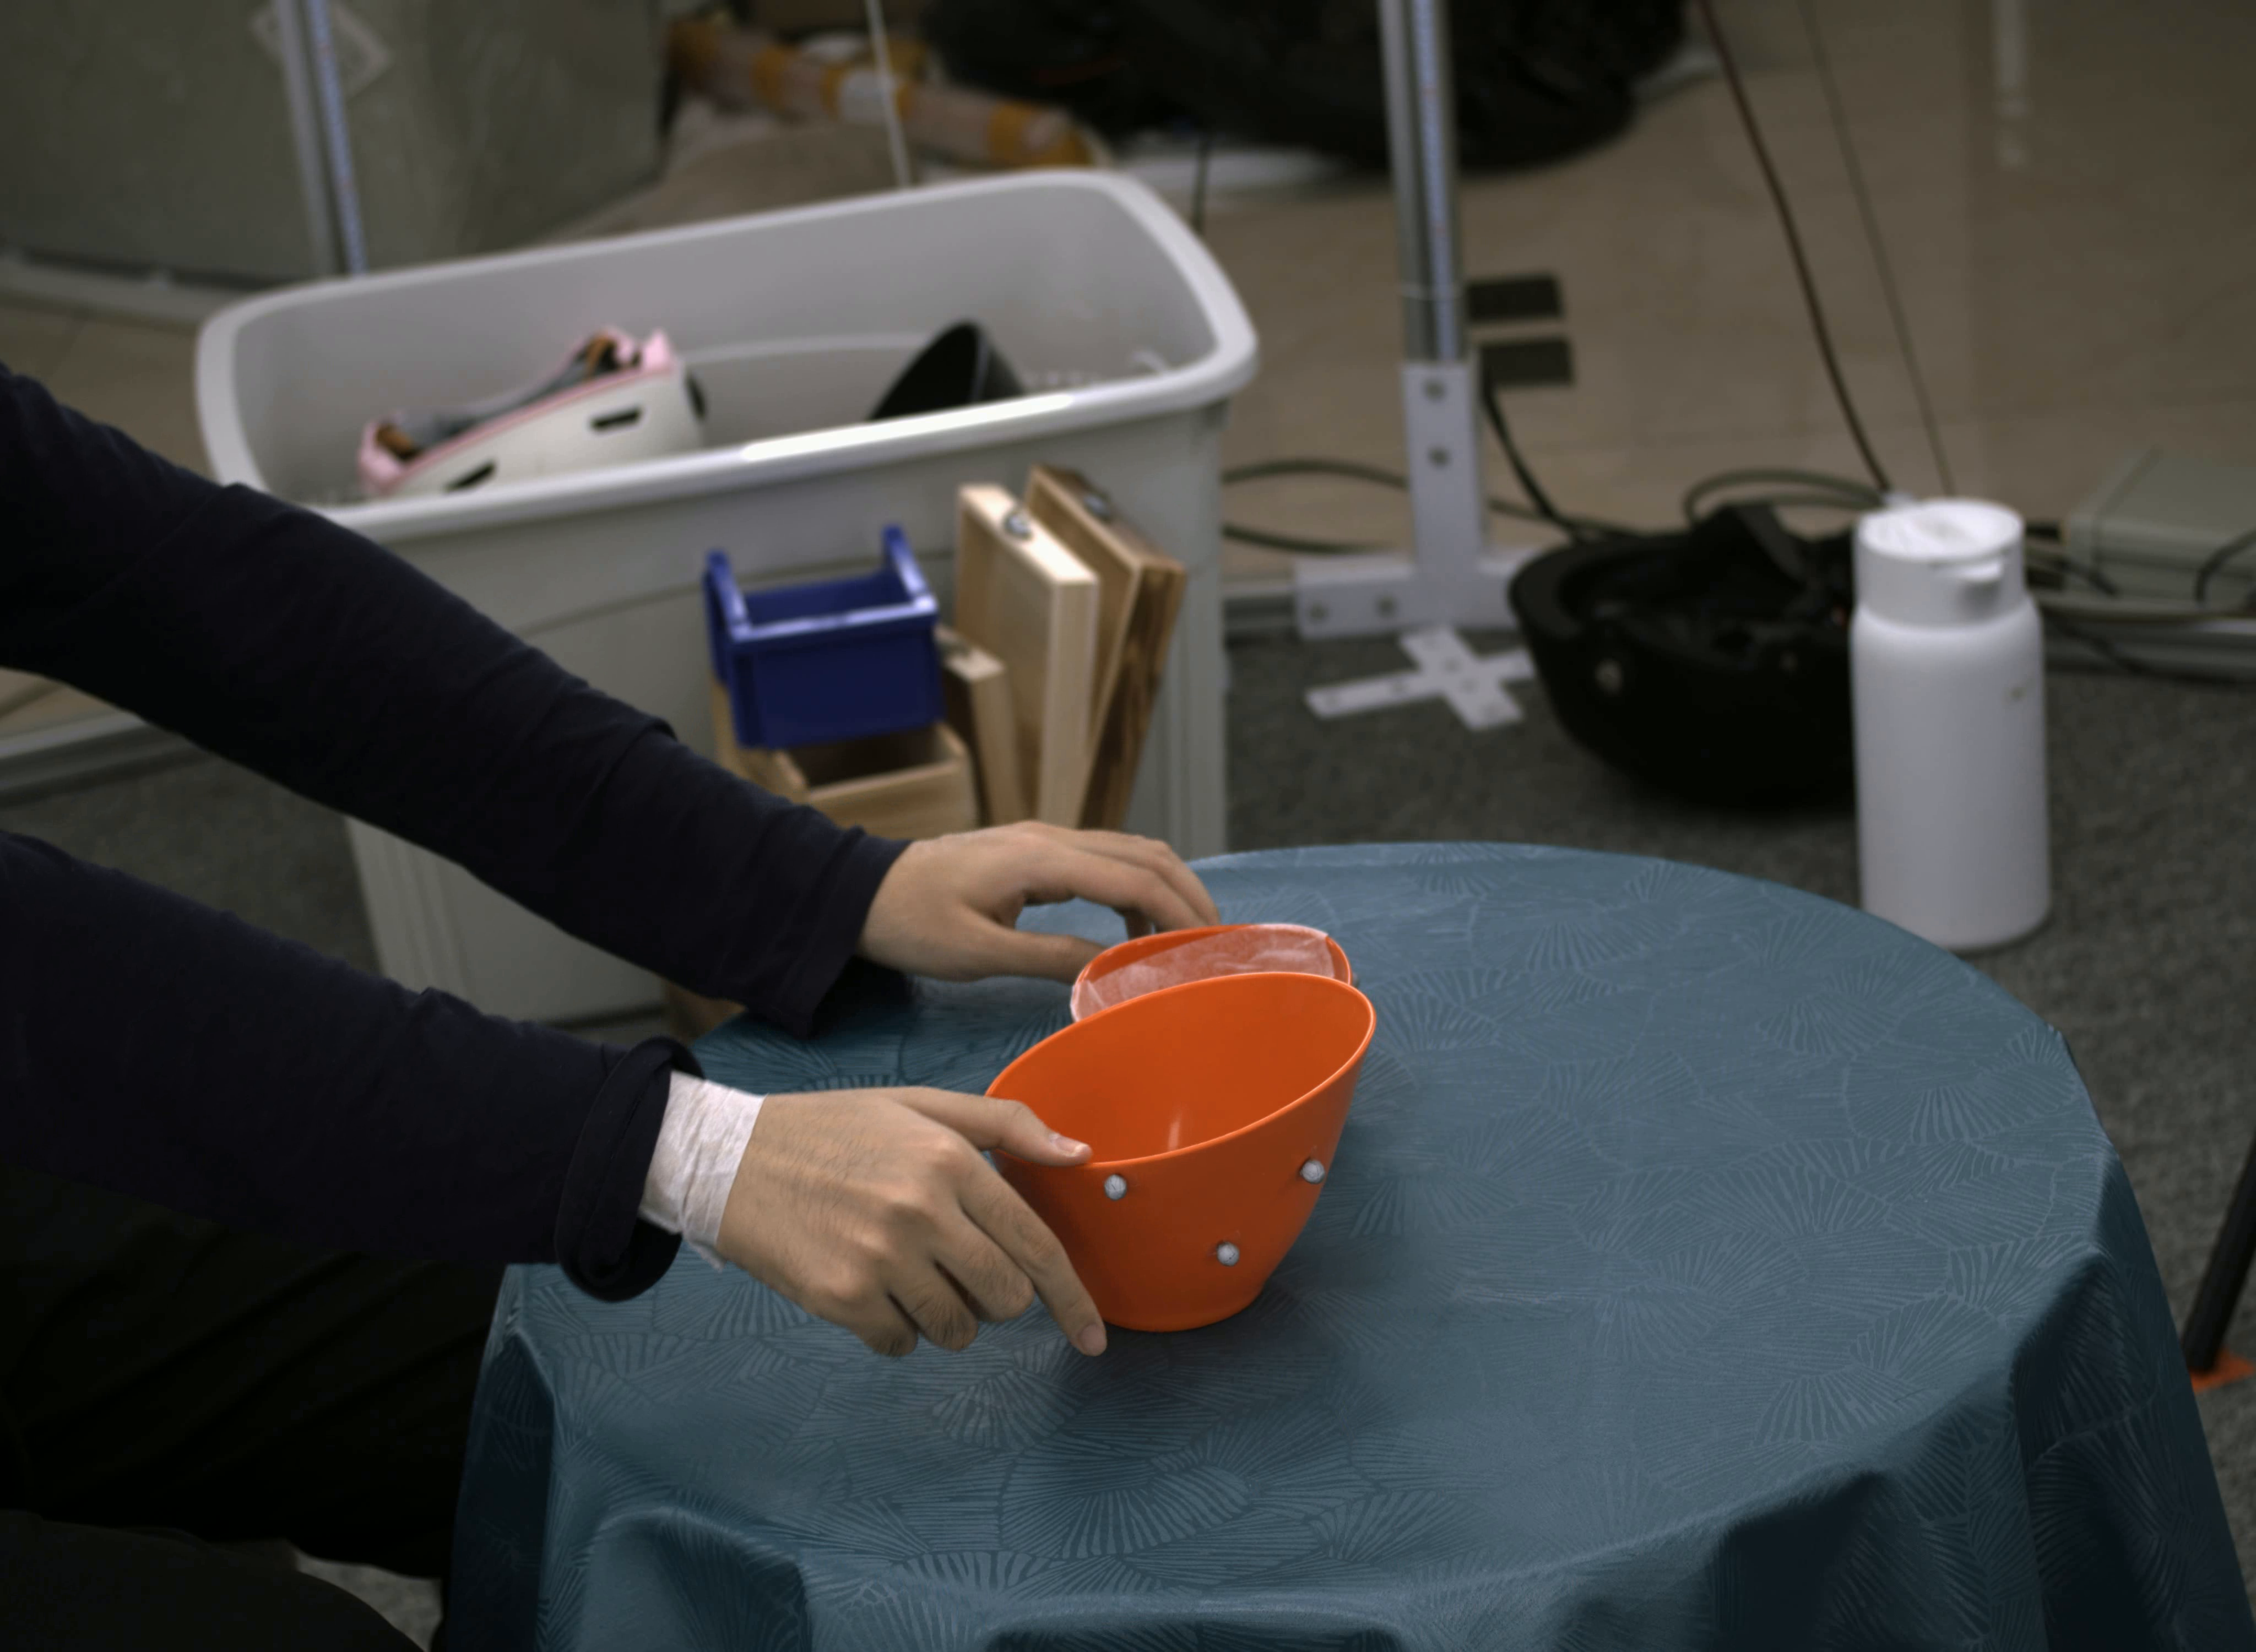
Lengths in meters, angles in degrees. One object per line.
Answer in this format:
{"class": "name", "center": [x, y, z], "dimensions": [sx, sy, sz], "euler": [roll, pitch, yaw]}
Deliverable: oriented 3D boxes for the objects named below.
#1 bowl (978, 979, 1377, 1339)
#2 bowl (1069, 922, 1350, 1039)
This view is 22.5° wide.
{"class": "bowl", "center": [0.022, 0.126, 2.056], "dimensions": [0.148, 0.106, 0.146], "euler": [-7, 25, 3]}
{"class": "bowl", "center": [0.034, 0.085, 2.201], "dimensions": [0.119, 0.052, 0.117], "euler": [-7, 26, 3]}
